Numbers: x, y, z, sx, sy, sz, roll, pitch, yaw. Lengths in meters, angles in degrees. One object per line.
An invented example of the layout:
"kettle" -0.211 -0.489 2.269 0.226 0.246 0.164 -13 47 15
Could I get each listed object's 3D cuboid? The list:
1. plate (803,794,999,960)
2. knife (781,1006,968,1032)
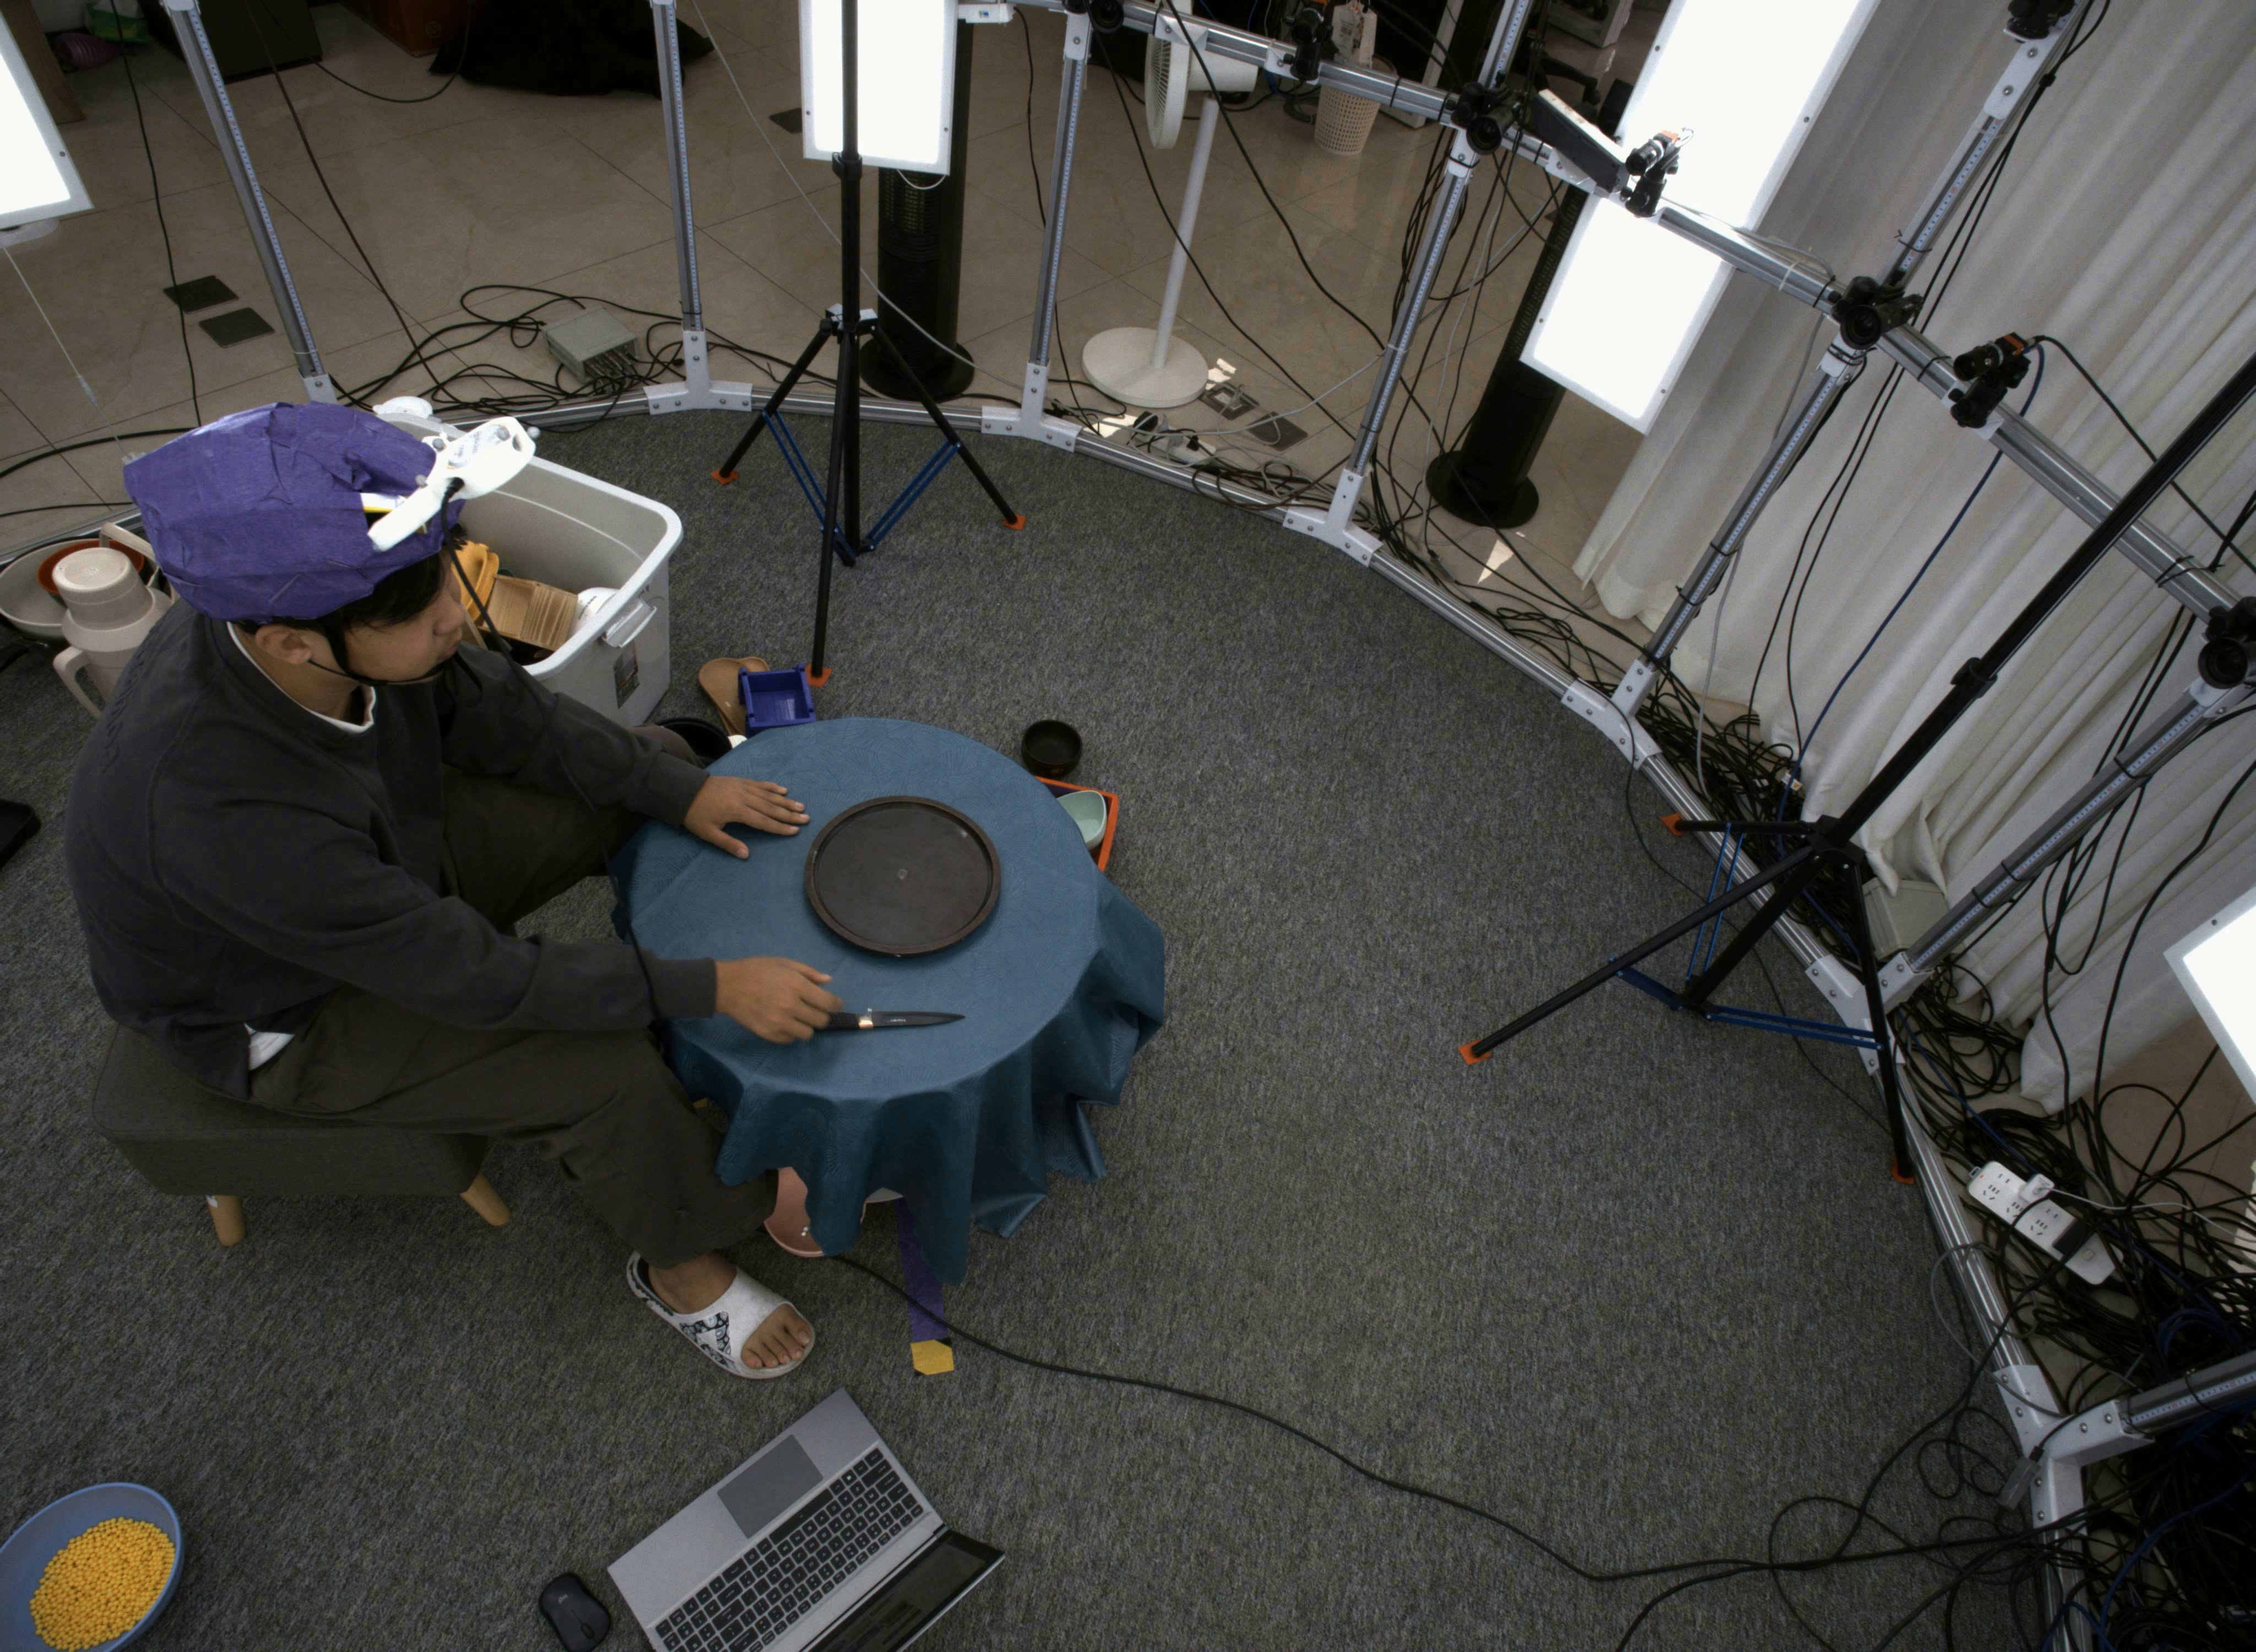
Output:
"plate" -0.293 0.063 1.691 0.254 0.029 0.250 7 54 -8
"knife" -0.304 0.230 1.571 0.226 0.017 0.025 -1 47 -16
